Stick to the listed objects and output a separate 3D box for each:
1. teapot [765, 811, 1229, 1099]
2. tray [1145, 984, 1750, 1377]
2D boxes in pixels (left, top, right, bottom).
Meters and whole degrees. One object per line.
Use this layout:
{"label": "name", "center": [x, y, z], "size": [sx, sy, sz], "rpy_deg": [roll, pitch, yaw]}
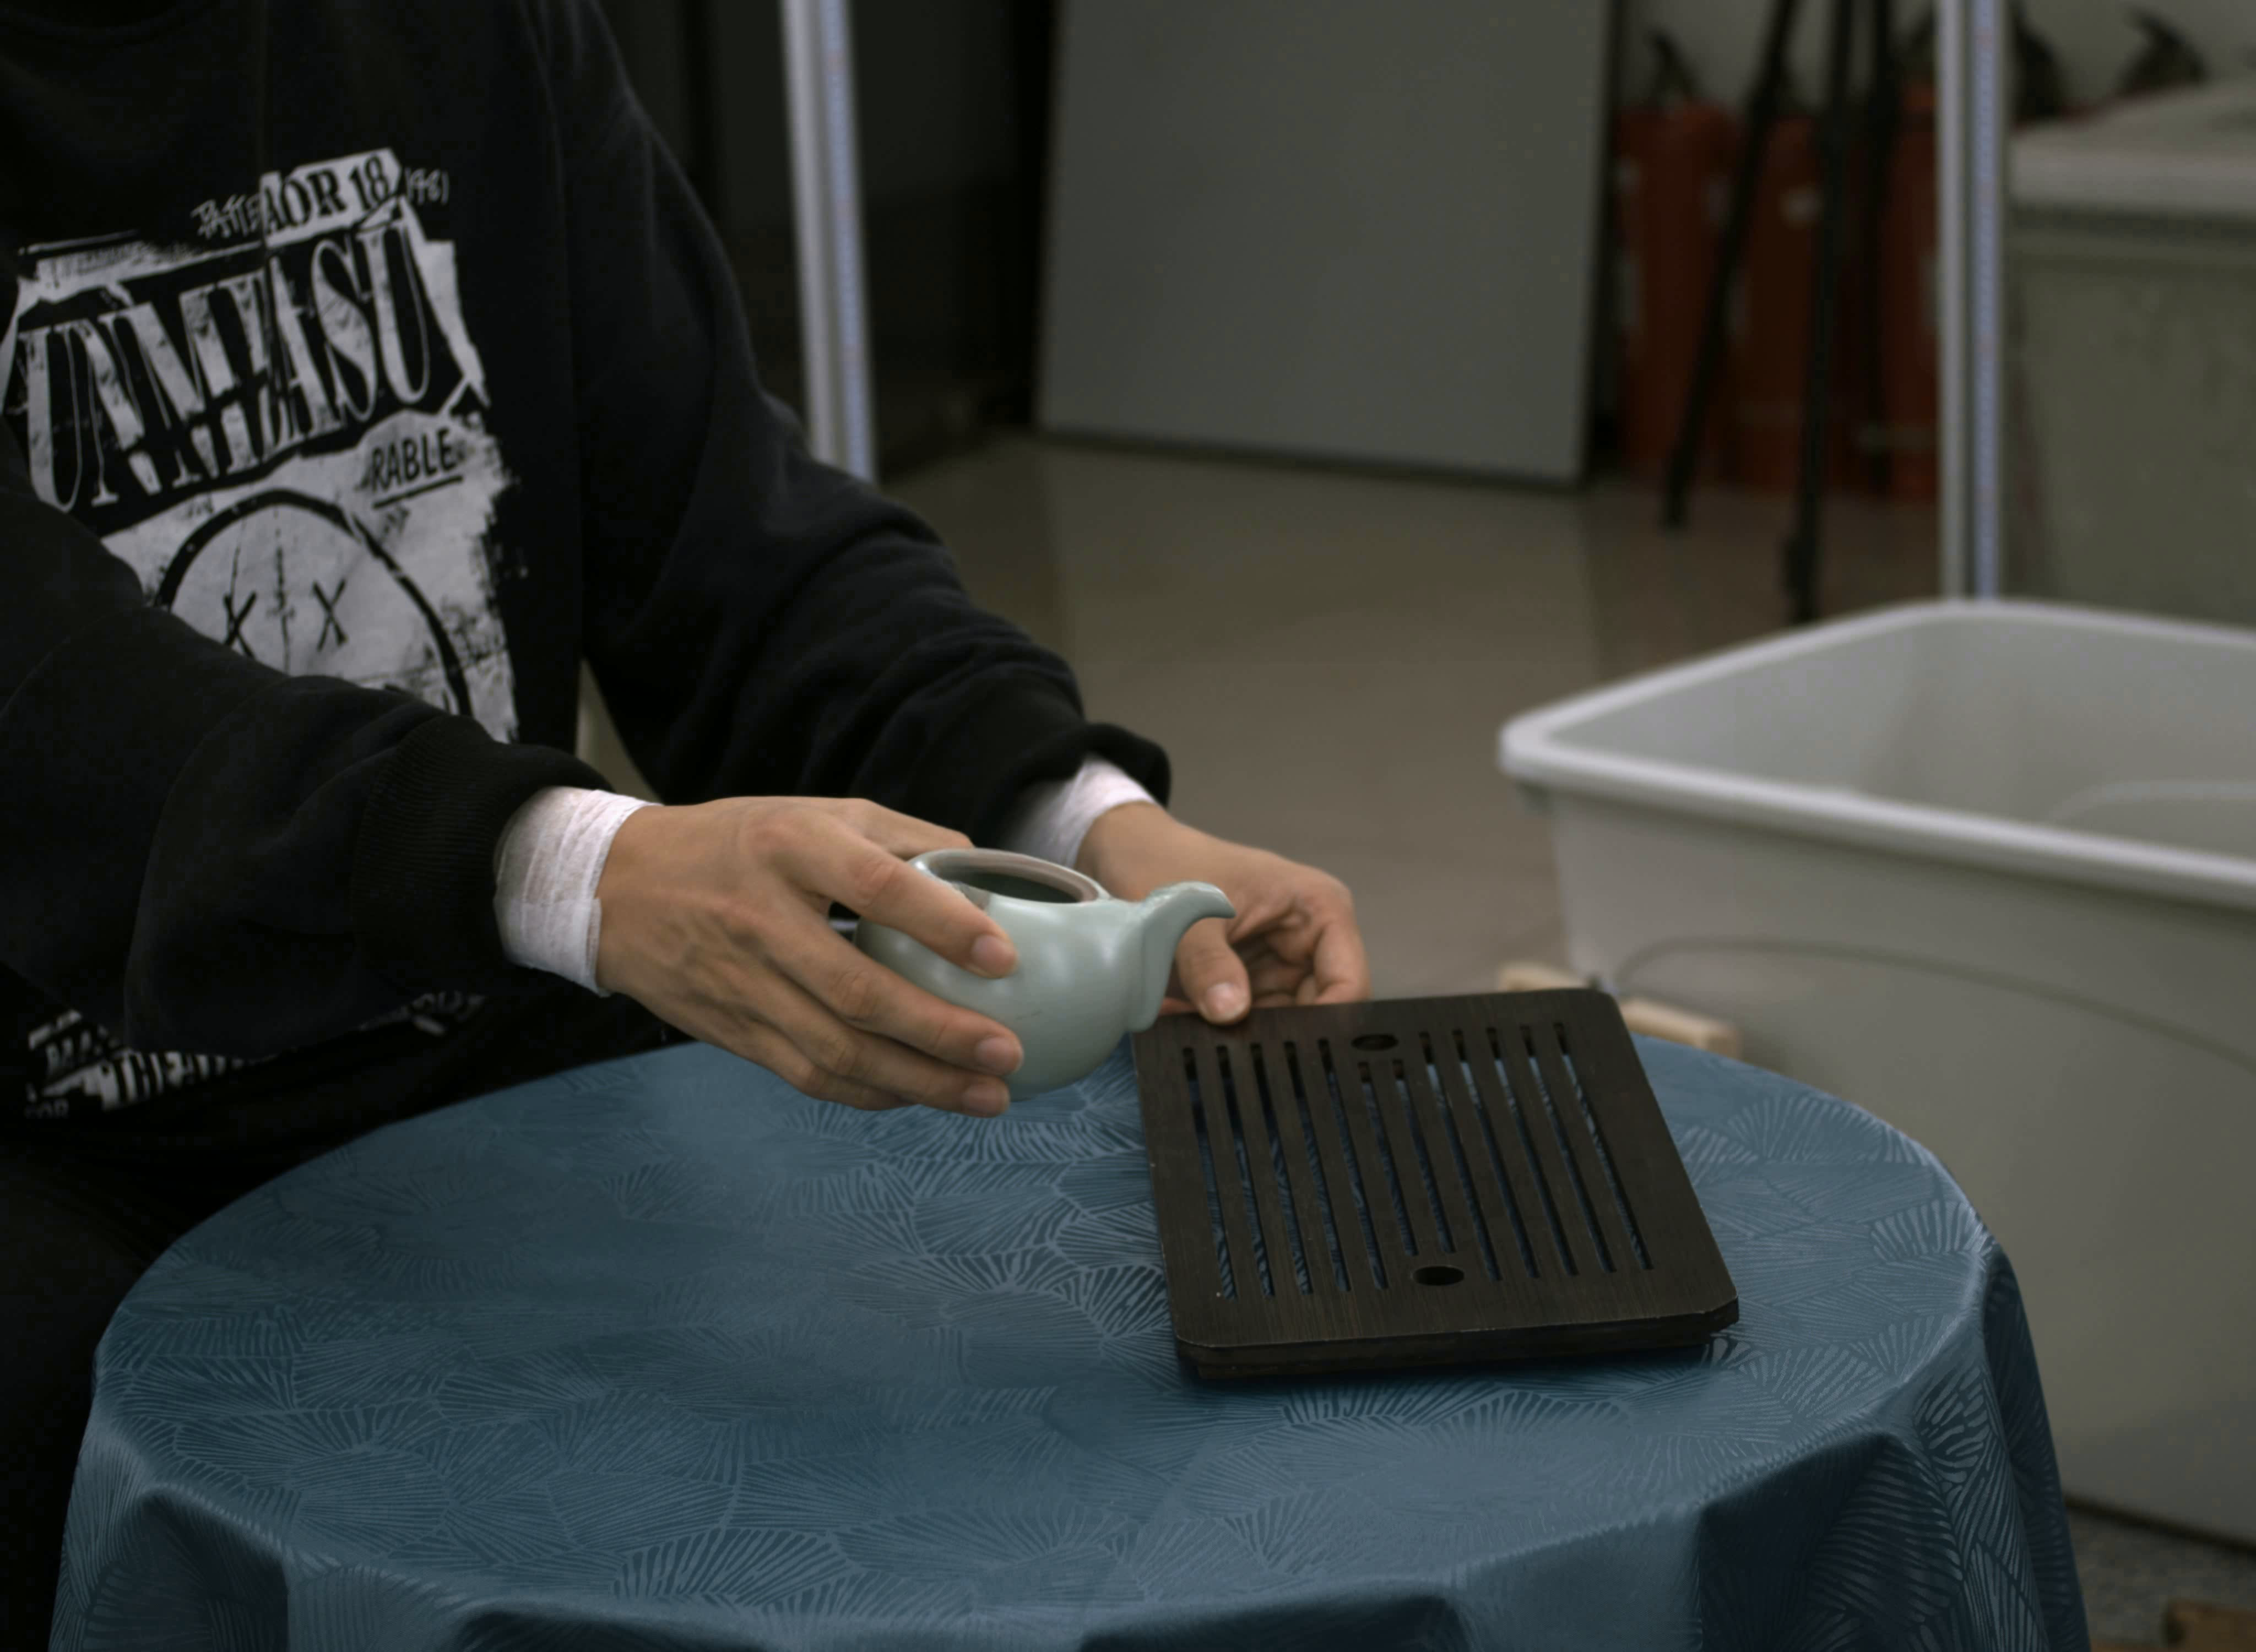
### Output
{"label": "teapot", "center": [-0.043, 0.041, 1.631], "size": [0.141, 0.075, 0.089], "rpy_deg": [10, 12, -14]}
{"label": "tray", "center": [0.095, 0.111, 1.723], "size": [0.168, 0.019, 0.306], "rpy_deg": [-5, 16, -1]}
